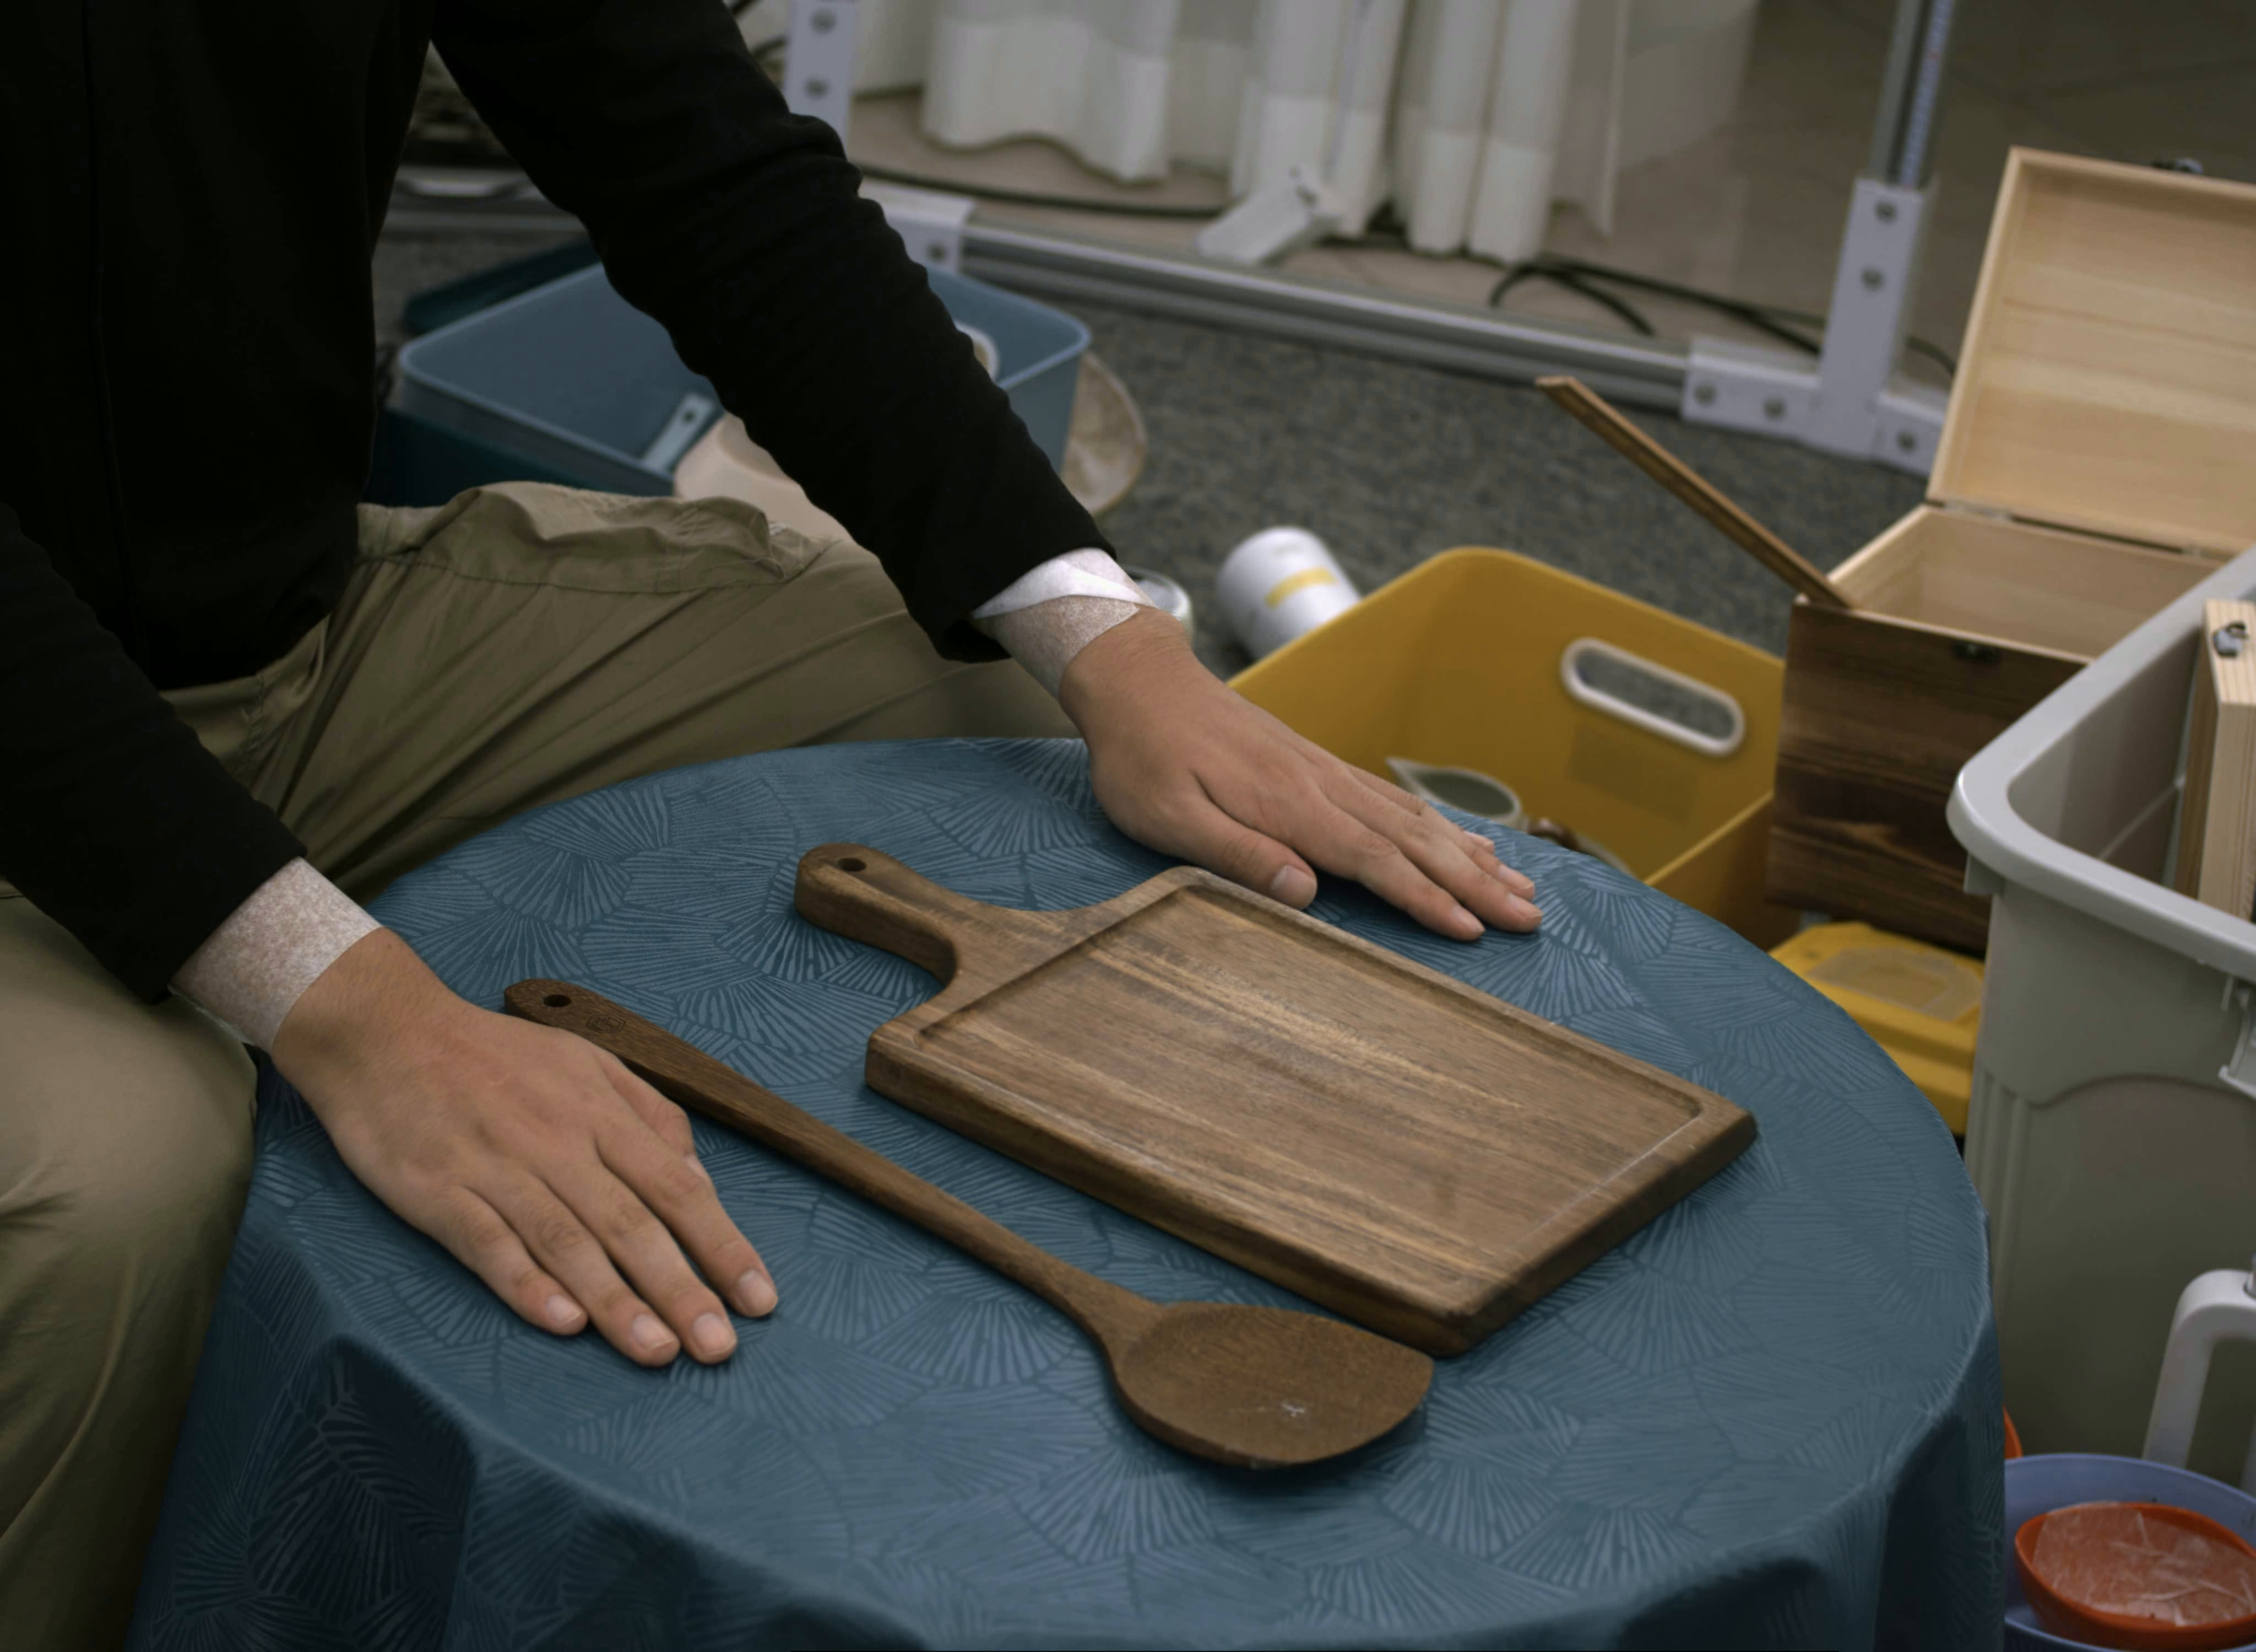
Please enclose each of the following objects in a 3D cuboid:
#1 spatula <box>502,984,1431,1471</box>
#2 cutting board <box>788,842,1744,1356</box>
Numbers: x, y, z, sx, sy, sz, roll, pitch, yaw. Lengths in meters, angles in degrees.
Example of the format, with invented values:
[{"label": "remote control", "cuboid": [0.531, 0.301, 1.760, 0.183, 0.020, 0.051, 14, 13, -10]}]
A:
[{"label": "spatula", "cuboid": [-0.070, 0.125, 1.767, 0.388, 0.016, 0.096, 25, 32, 33]}, {"label": "cutting board", "cuboid": [0.023, 0.076, 1.877, 0.354, 0.023, 0.200, 23, 31, 29]}]
